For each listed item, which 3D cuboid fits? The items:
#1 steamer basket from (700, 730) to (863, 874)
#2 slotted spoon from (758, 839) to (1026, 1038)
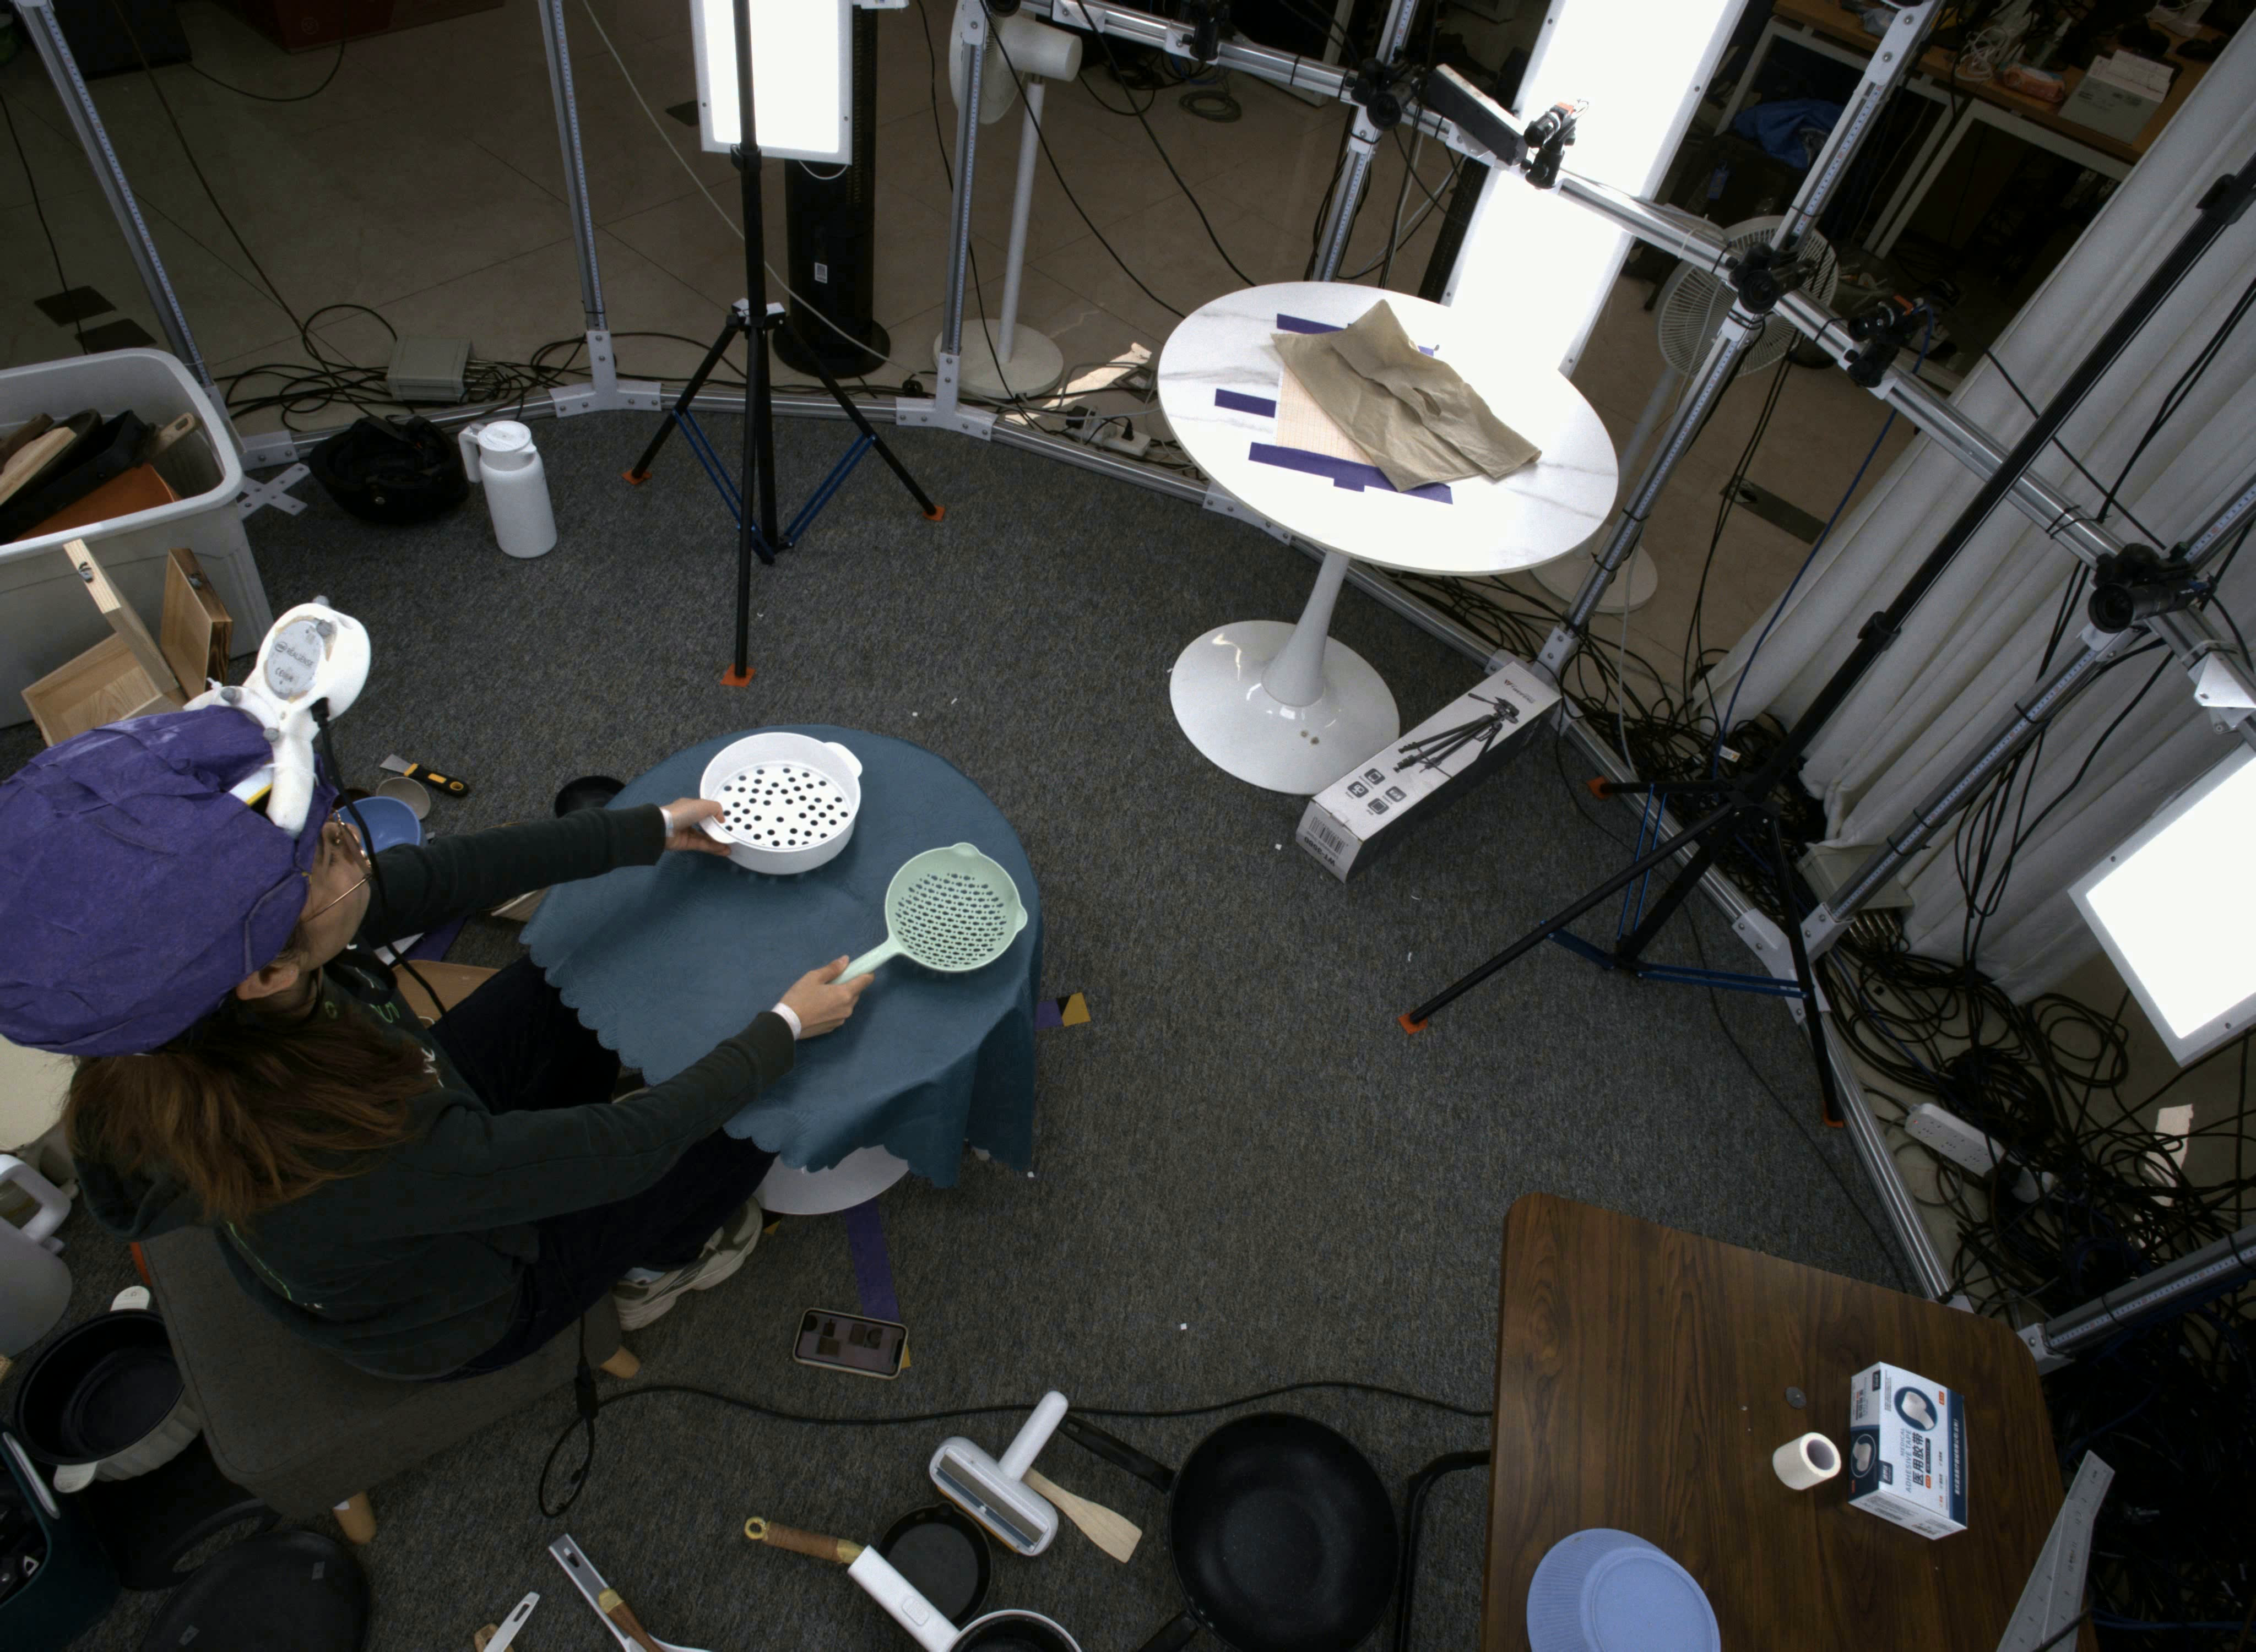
[{"bbox_3d":[-0.451,-0.031,1.694,0.197,0.070,0.231,42,52,17],"label":"steamer basket"},{"bbox_3d":[-0.295,0.151,1.596,0.360,0.076,0.167,-30,74,-35],"label":"slotted spoon"}]
